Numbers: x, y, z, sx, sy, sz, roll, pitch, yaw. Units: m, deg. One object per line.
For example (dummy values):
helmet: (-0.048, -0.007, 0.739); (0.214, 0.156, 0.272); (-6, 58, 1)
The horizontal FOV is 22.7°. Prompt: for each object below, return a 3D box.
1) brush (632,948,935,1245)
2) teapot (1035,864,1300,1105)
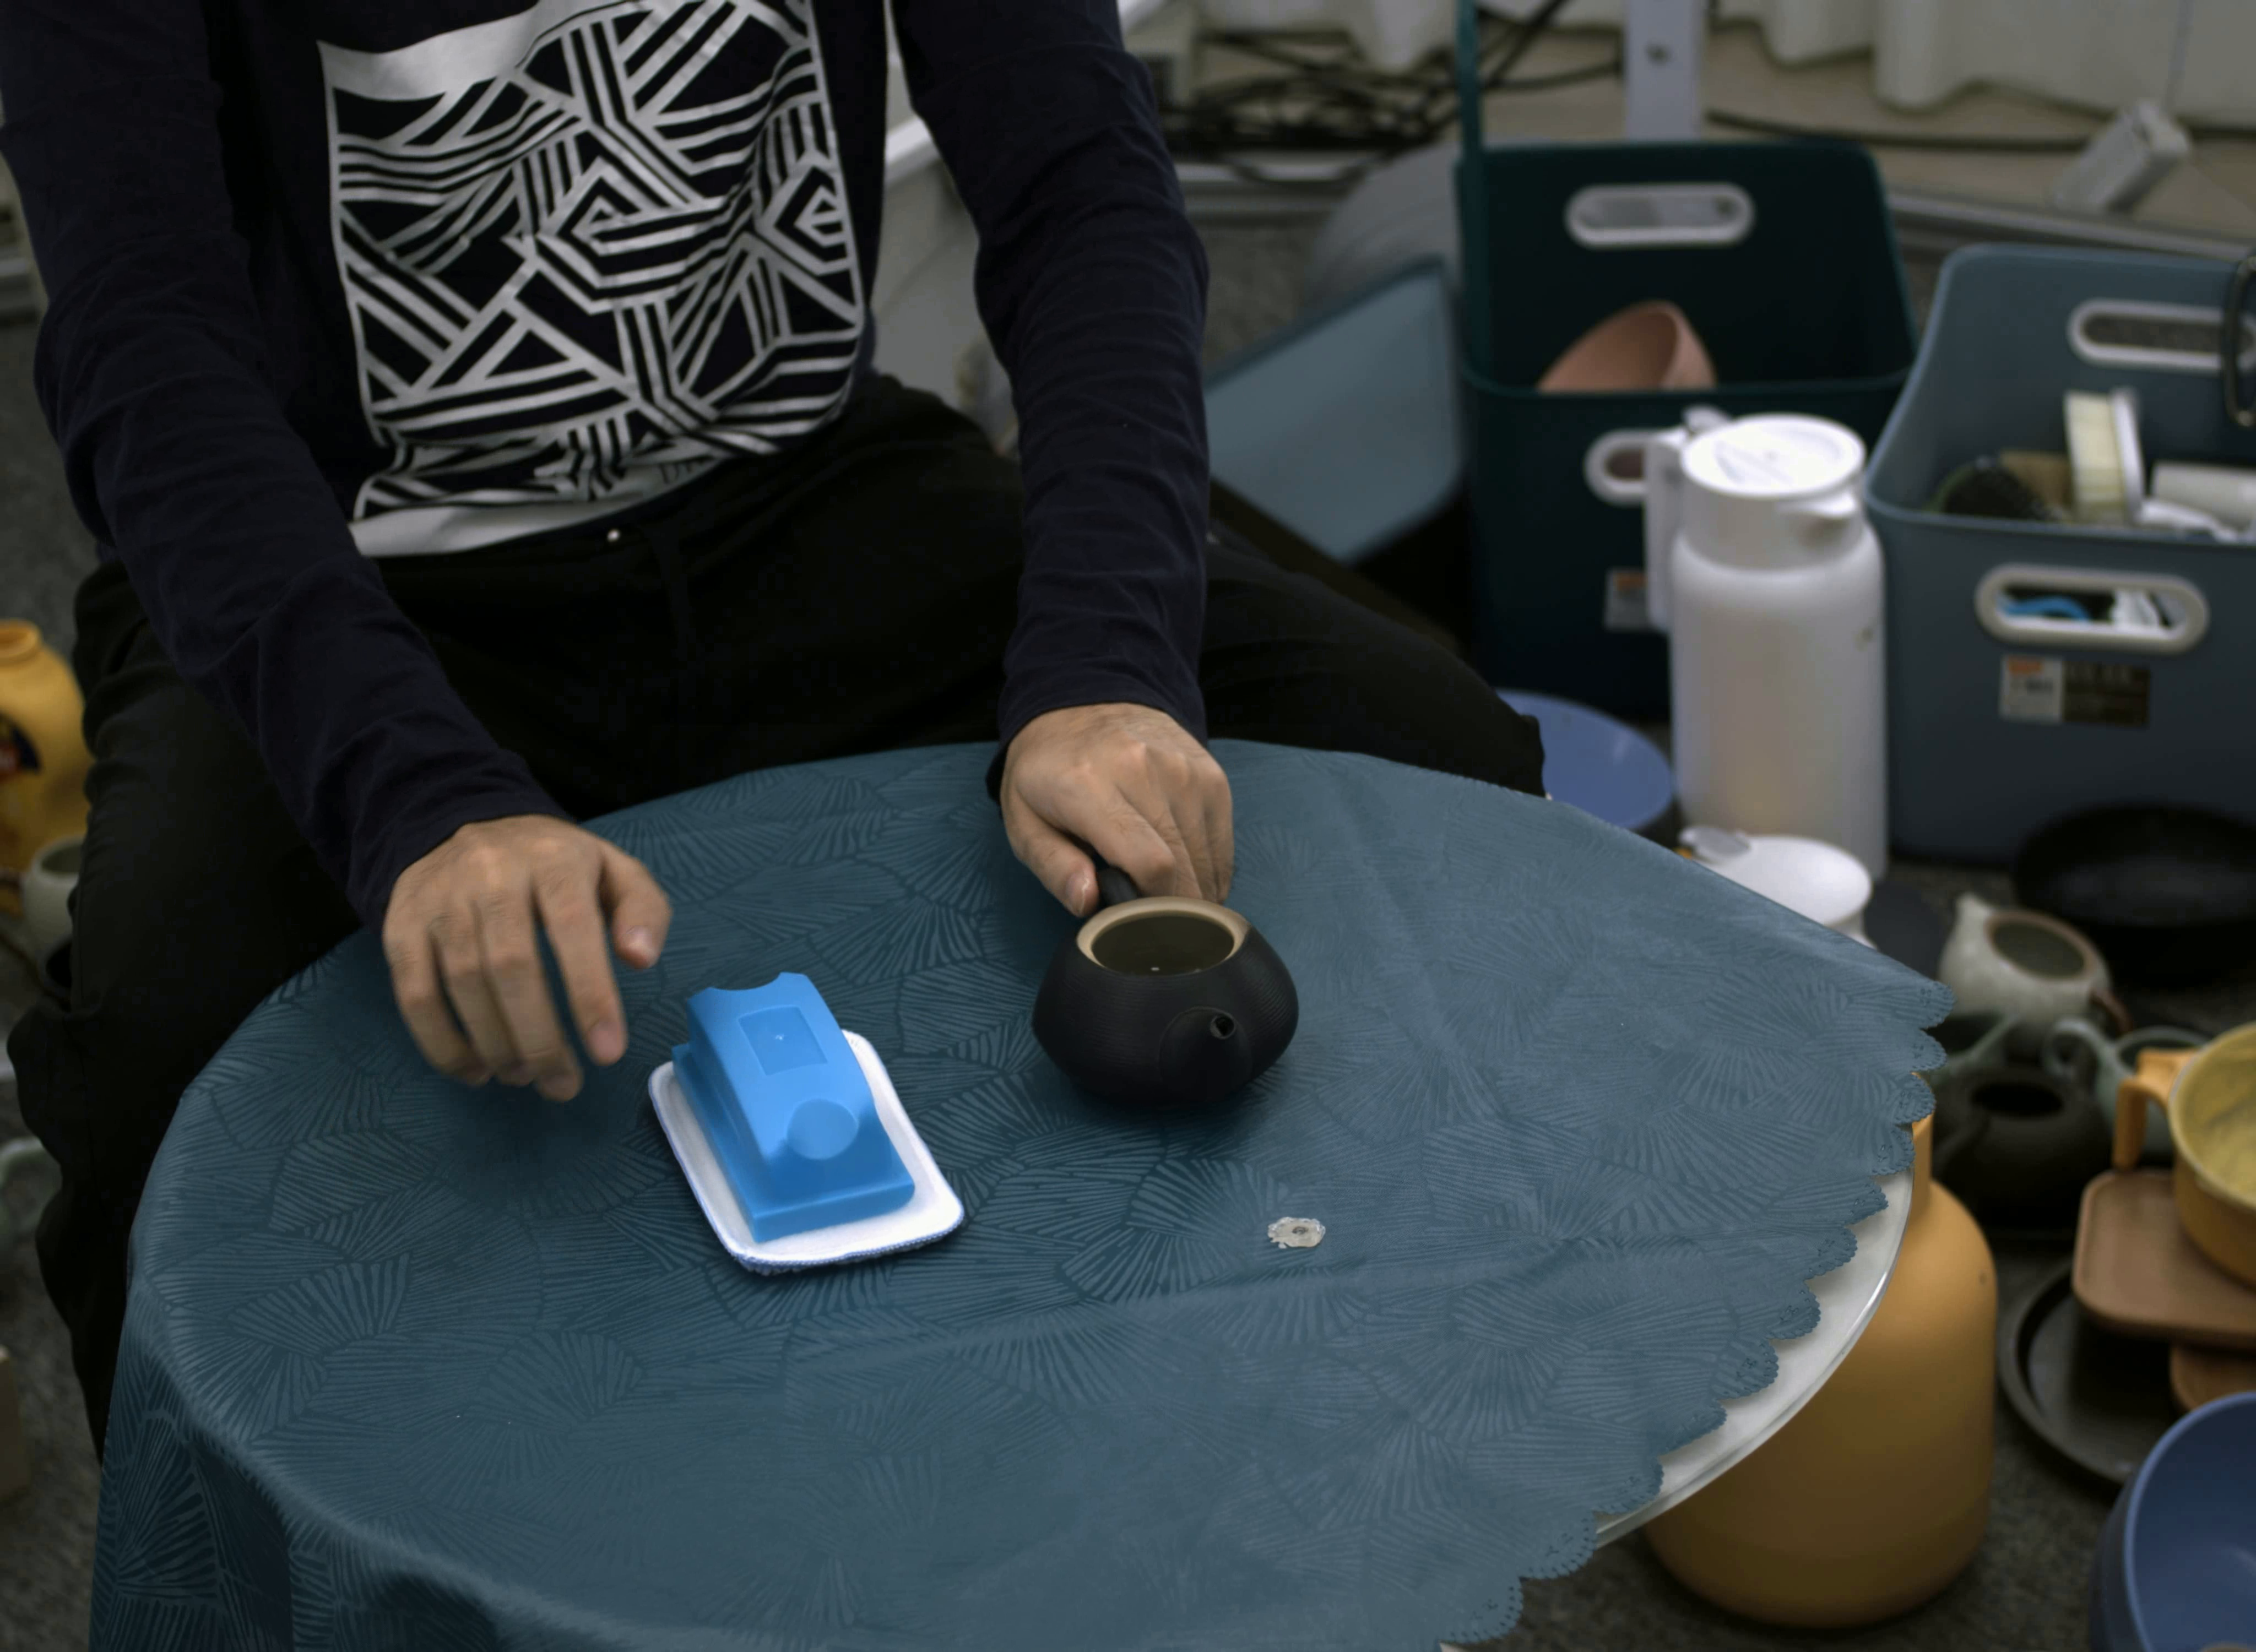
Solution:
brush: (-0.115, 0.086, 1.873); (0.084, 0.055, 0.145); (-7, 30, -14)
teapot: (0.013, 0.059, 1.918); (0.091, 0.052, 0.134); (-10, 29, -16)
